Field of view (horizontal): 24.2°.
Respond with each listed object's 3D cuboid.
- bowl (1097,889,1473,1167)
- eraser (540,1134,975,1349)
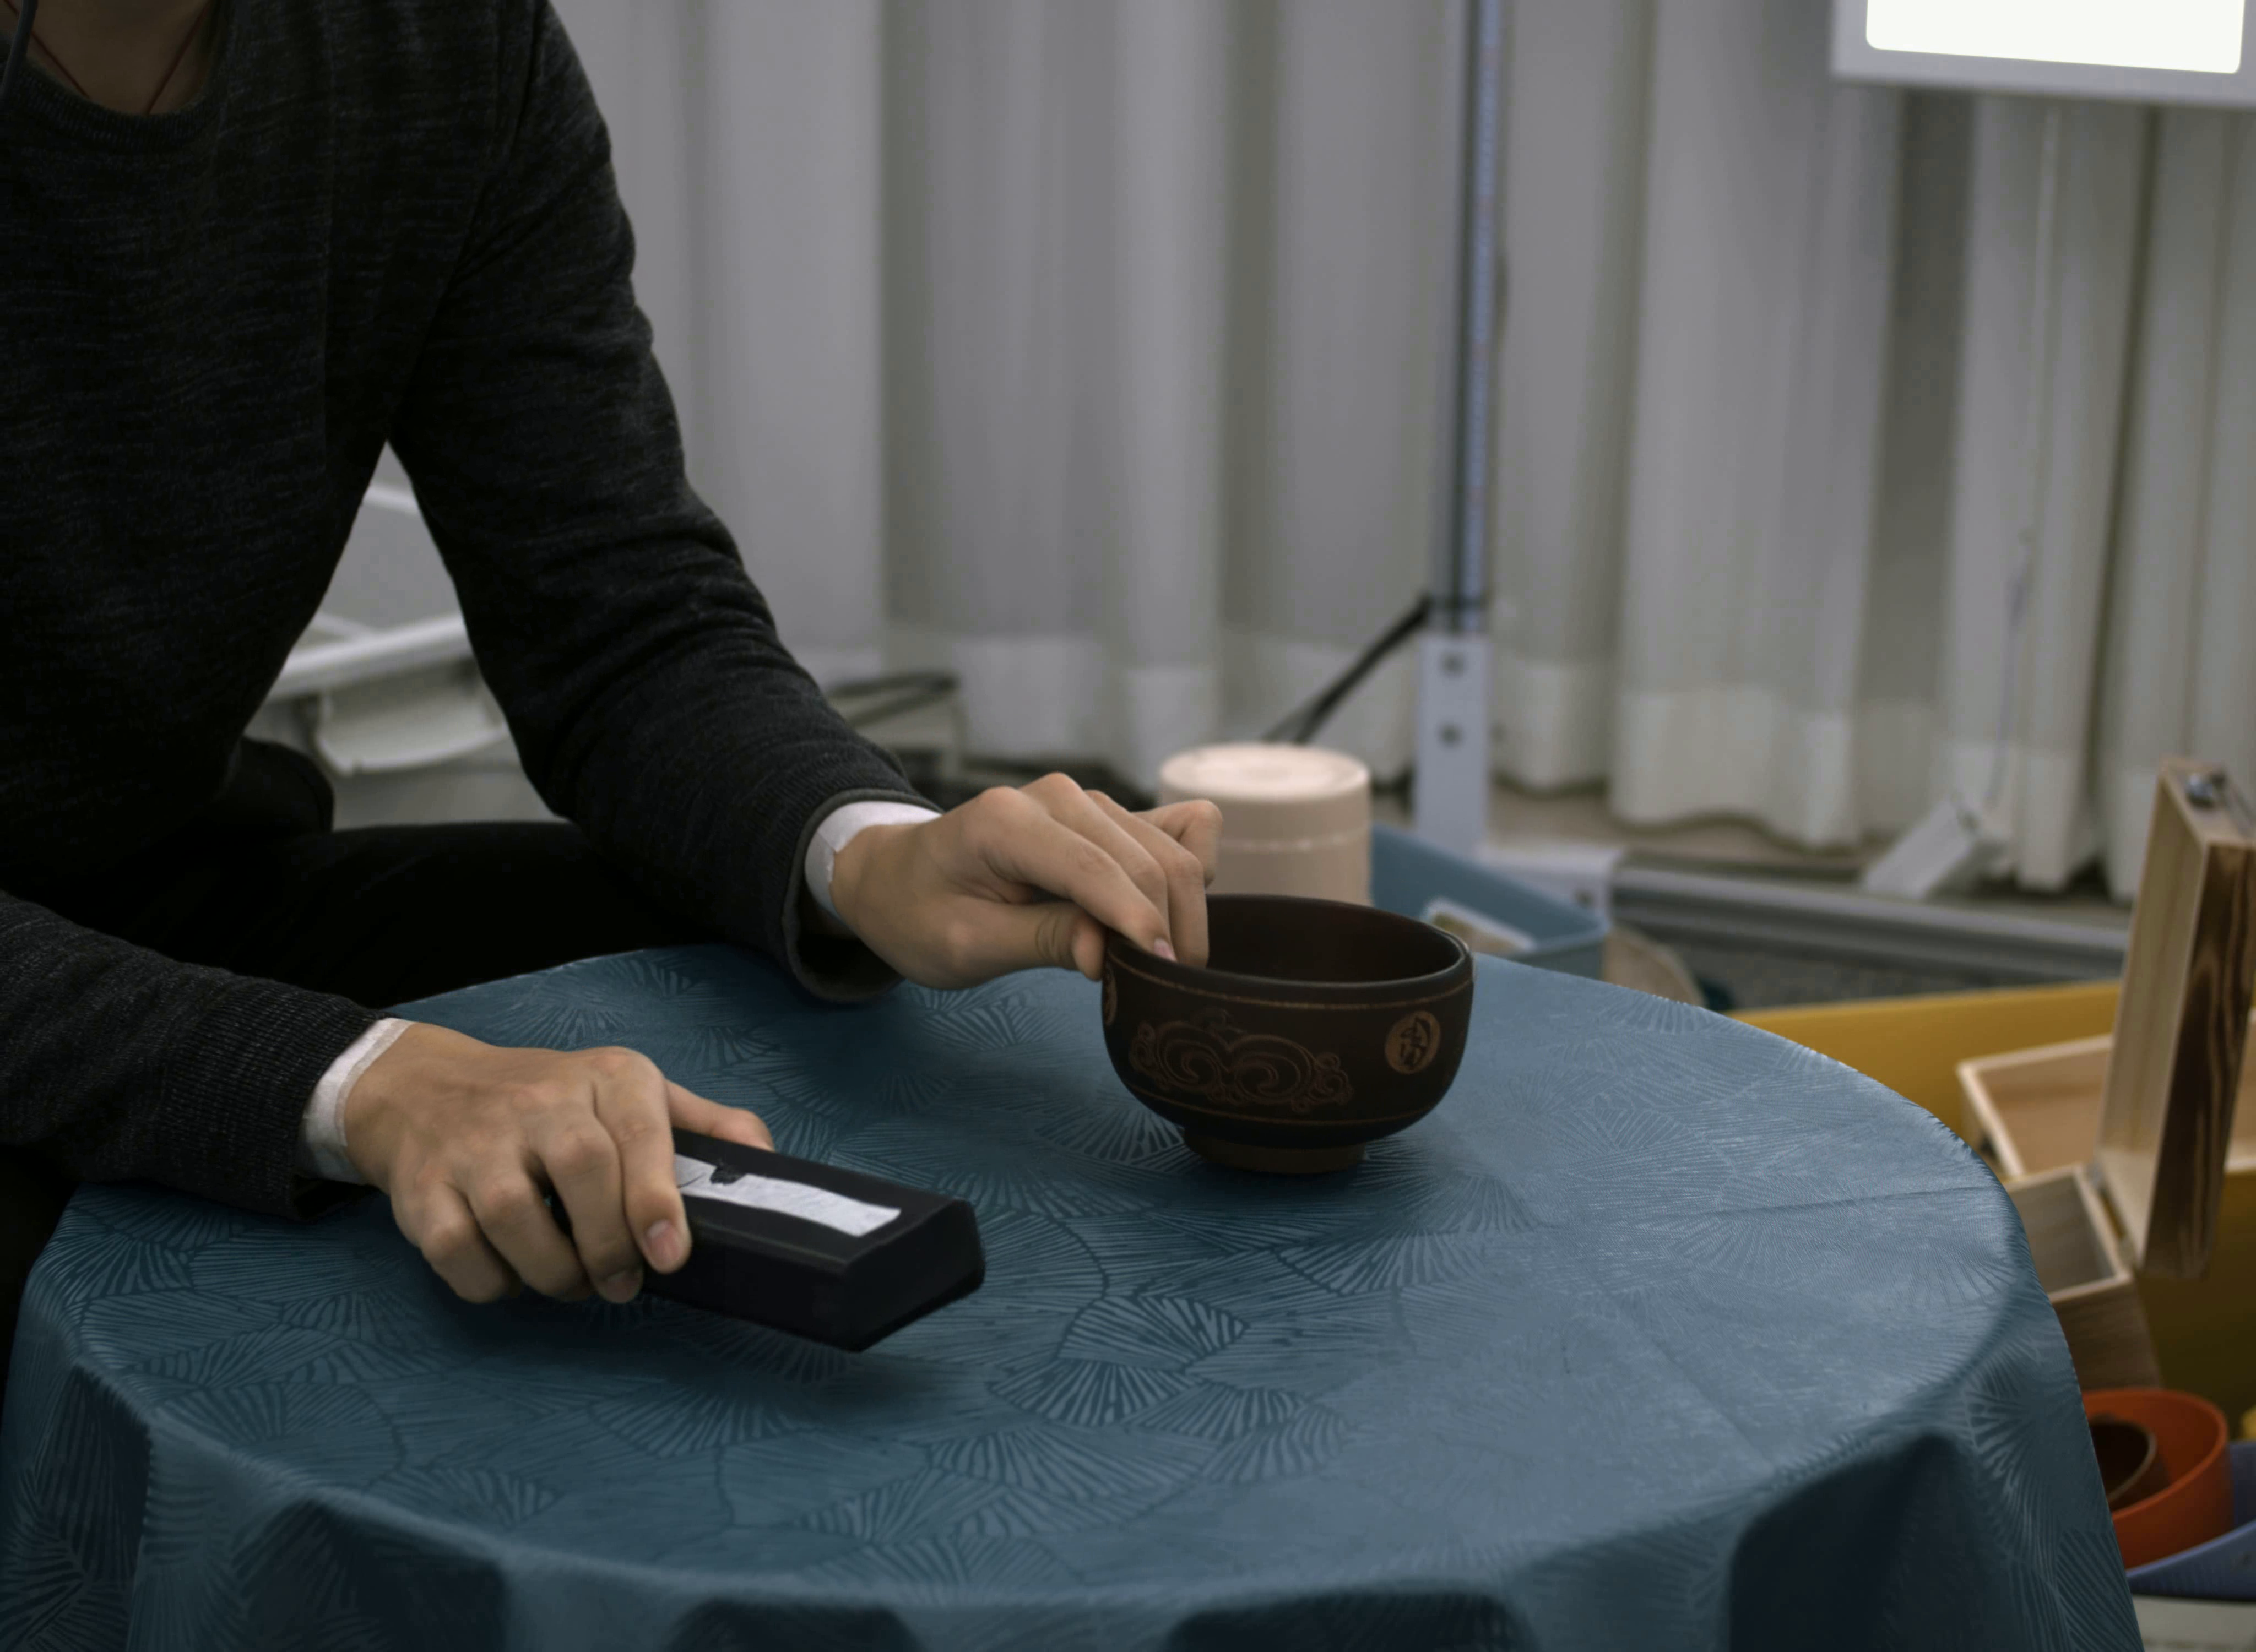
[{"bbox_3d":[0.048,0.066,1.645,0.117,0.070,0.117,4,12,0],"label":"bowl"},{"bbox_3d":[-0.103,0.115,1.479,0.124,0.031,0.053,9,24,40],"label":"eraser"}]
